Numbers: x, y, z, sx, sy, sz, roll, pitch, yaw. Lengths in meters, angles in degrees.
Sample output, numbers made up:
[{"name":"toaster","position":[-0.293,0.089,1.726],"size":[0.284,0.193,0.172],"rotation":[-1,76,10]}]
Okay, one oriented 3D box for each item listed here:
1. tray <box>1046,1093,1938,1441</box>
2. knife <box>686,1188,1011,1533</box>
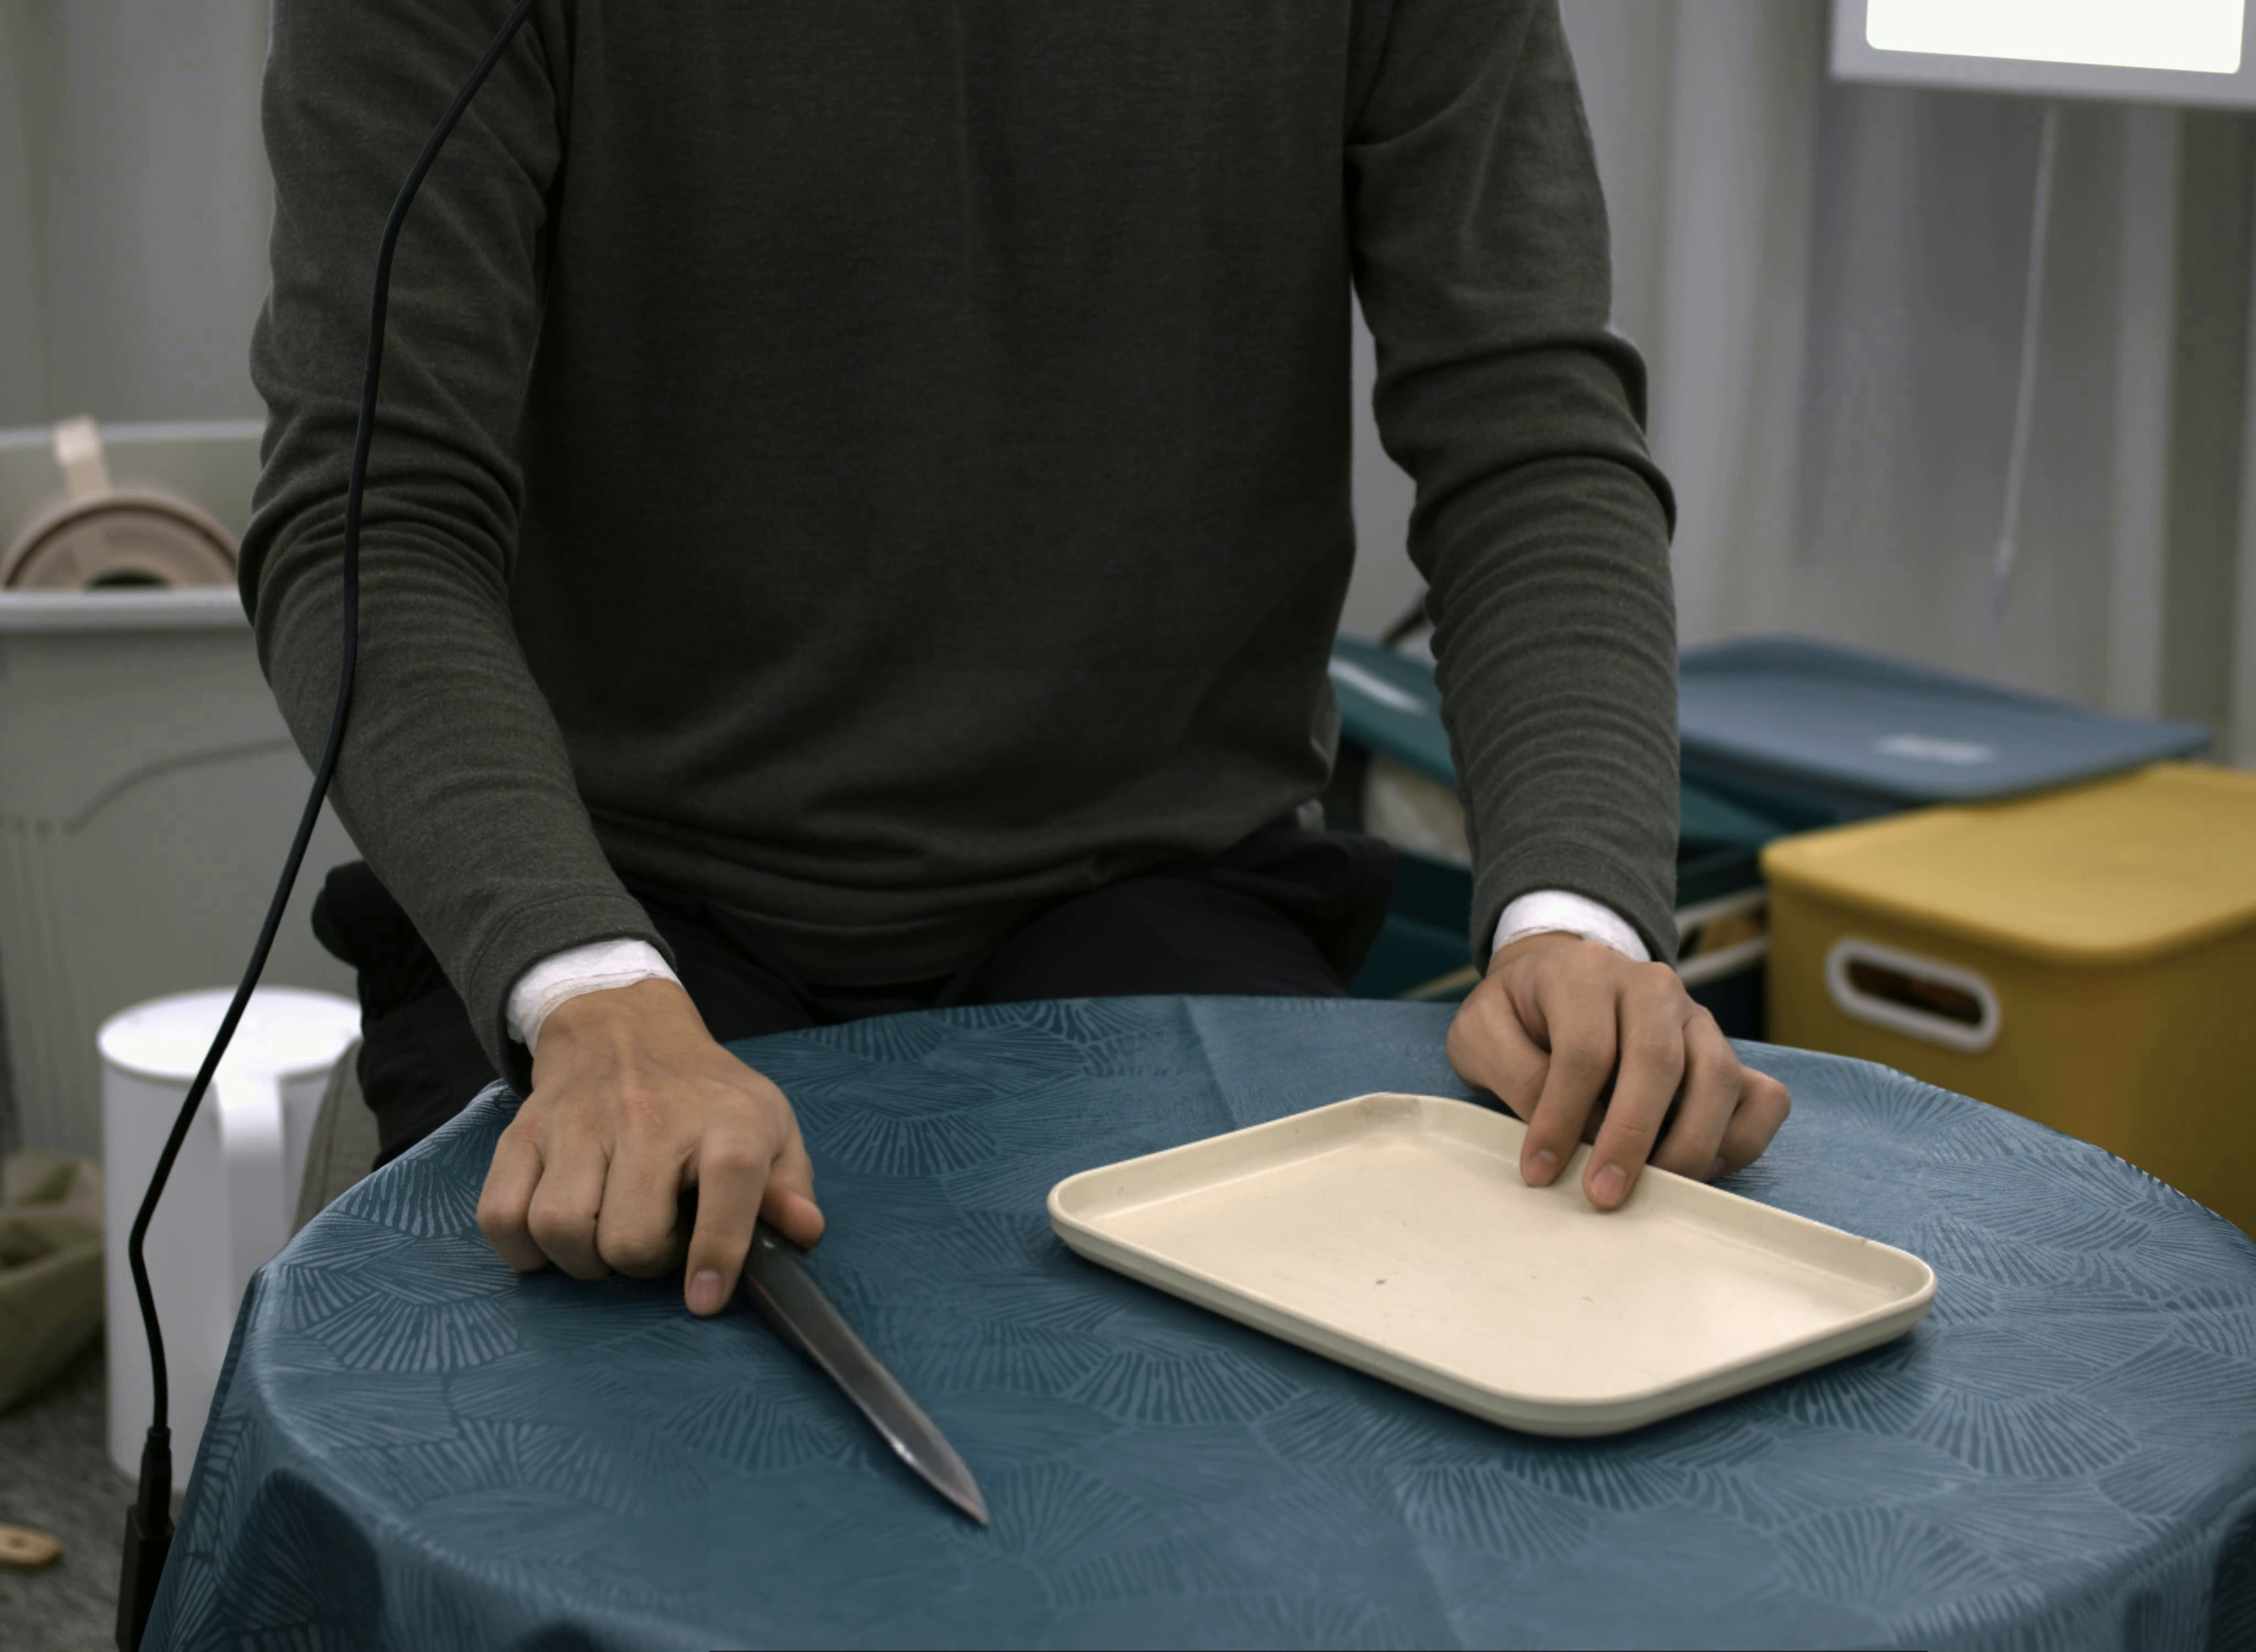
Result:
[{"name":"tray","position":[0.104,0.127,1.543],"size":[0.172,0.017,0.236],"rotation":[-13,20,-39]},{"name":"knife","position":[-0.080,0.147,1.467],"size":[0.024,0.016,0.235],"rotation":[14,11,-28]}]
